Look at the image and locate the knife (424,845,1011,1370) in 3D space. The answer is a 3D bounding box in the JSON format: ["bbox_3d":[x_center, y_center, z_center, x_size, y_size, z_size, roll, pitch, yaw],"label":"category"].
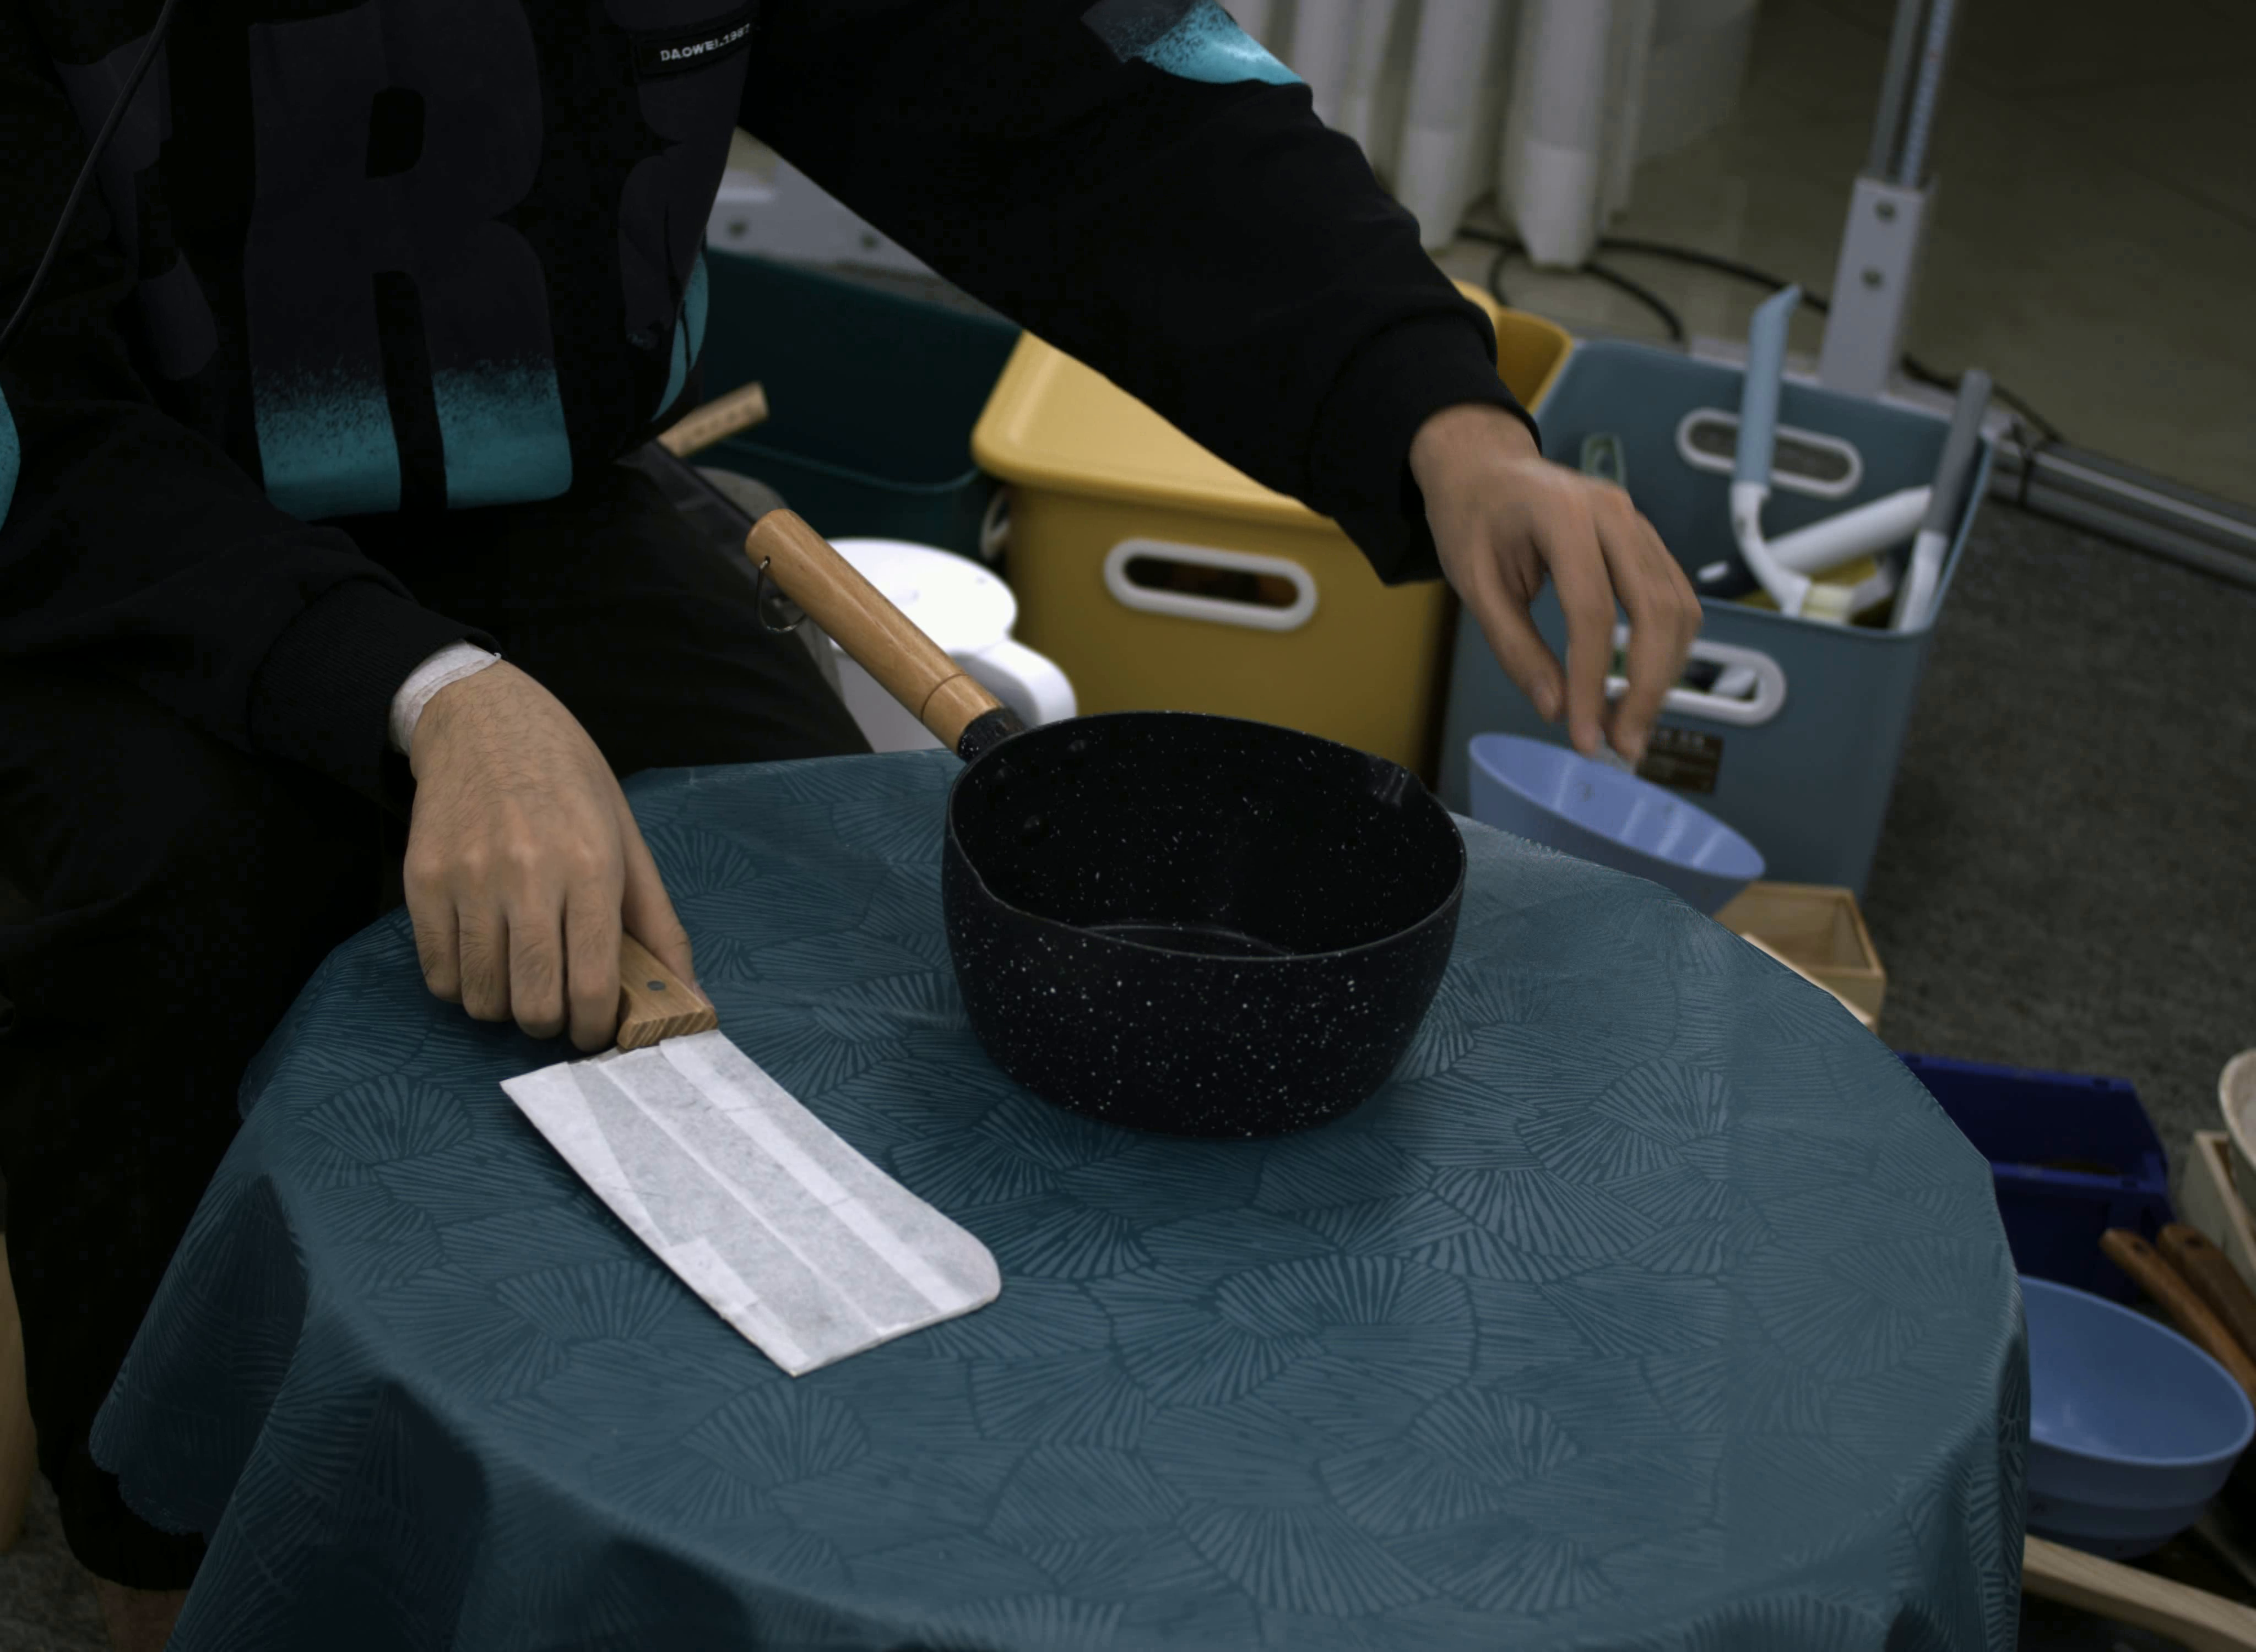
[{"bbox_3d":[-0.153,0.091,1.812,0.113,0.021,0.318,-12,35,-31],"label":"knife"}]

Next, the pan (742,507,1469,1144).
[{"bbox_3d":[-0.030,-0.004,1.925,0.206,0.108,0.345,-20,38,-40],"label":"pan"}]
